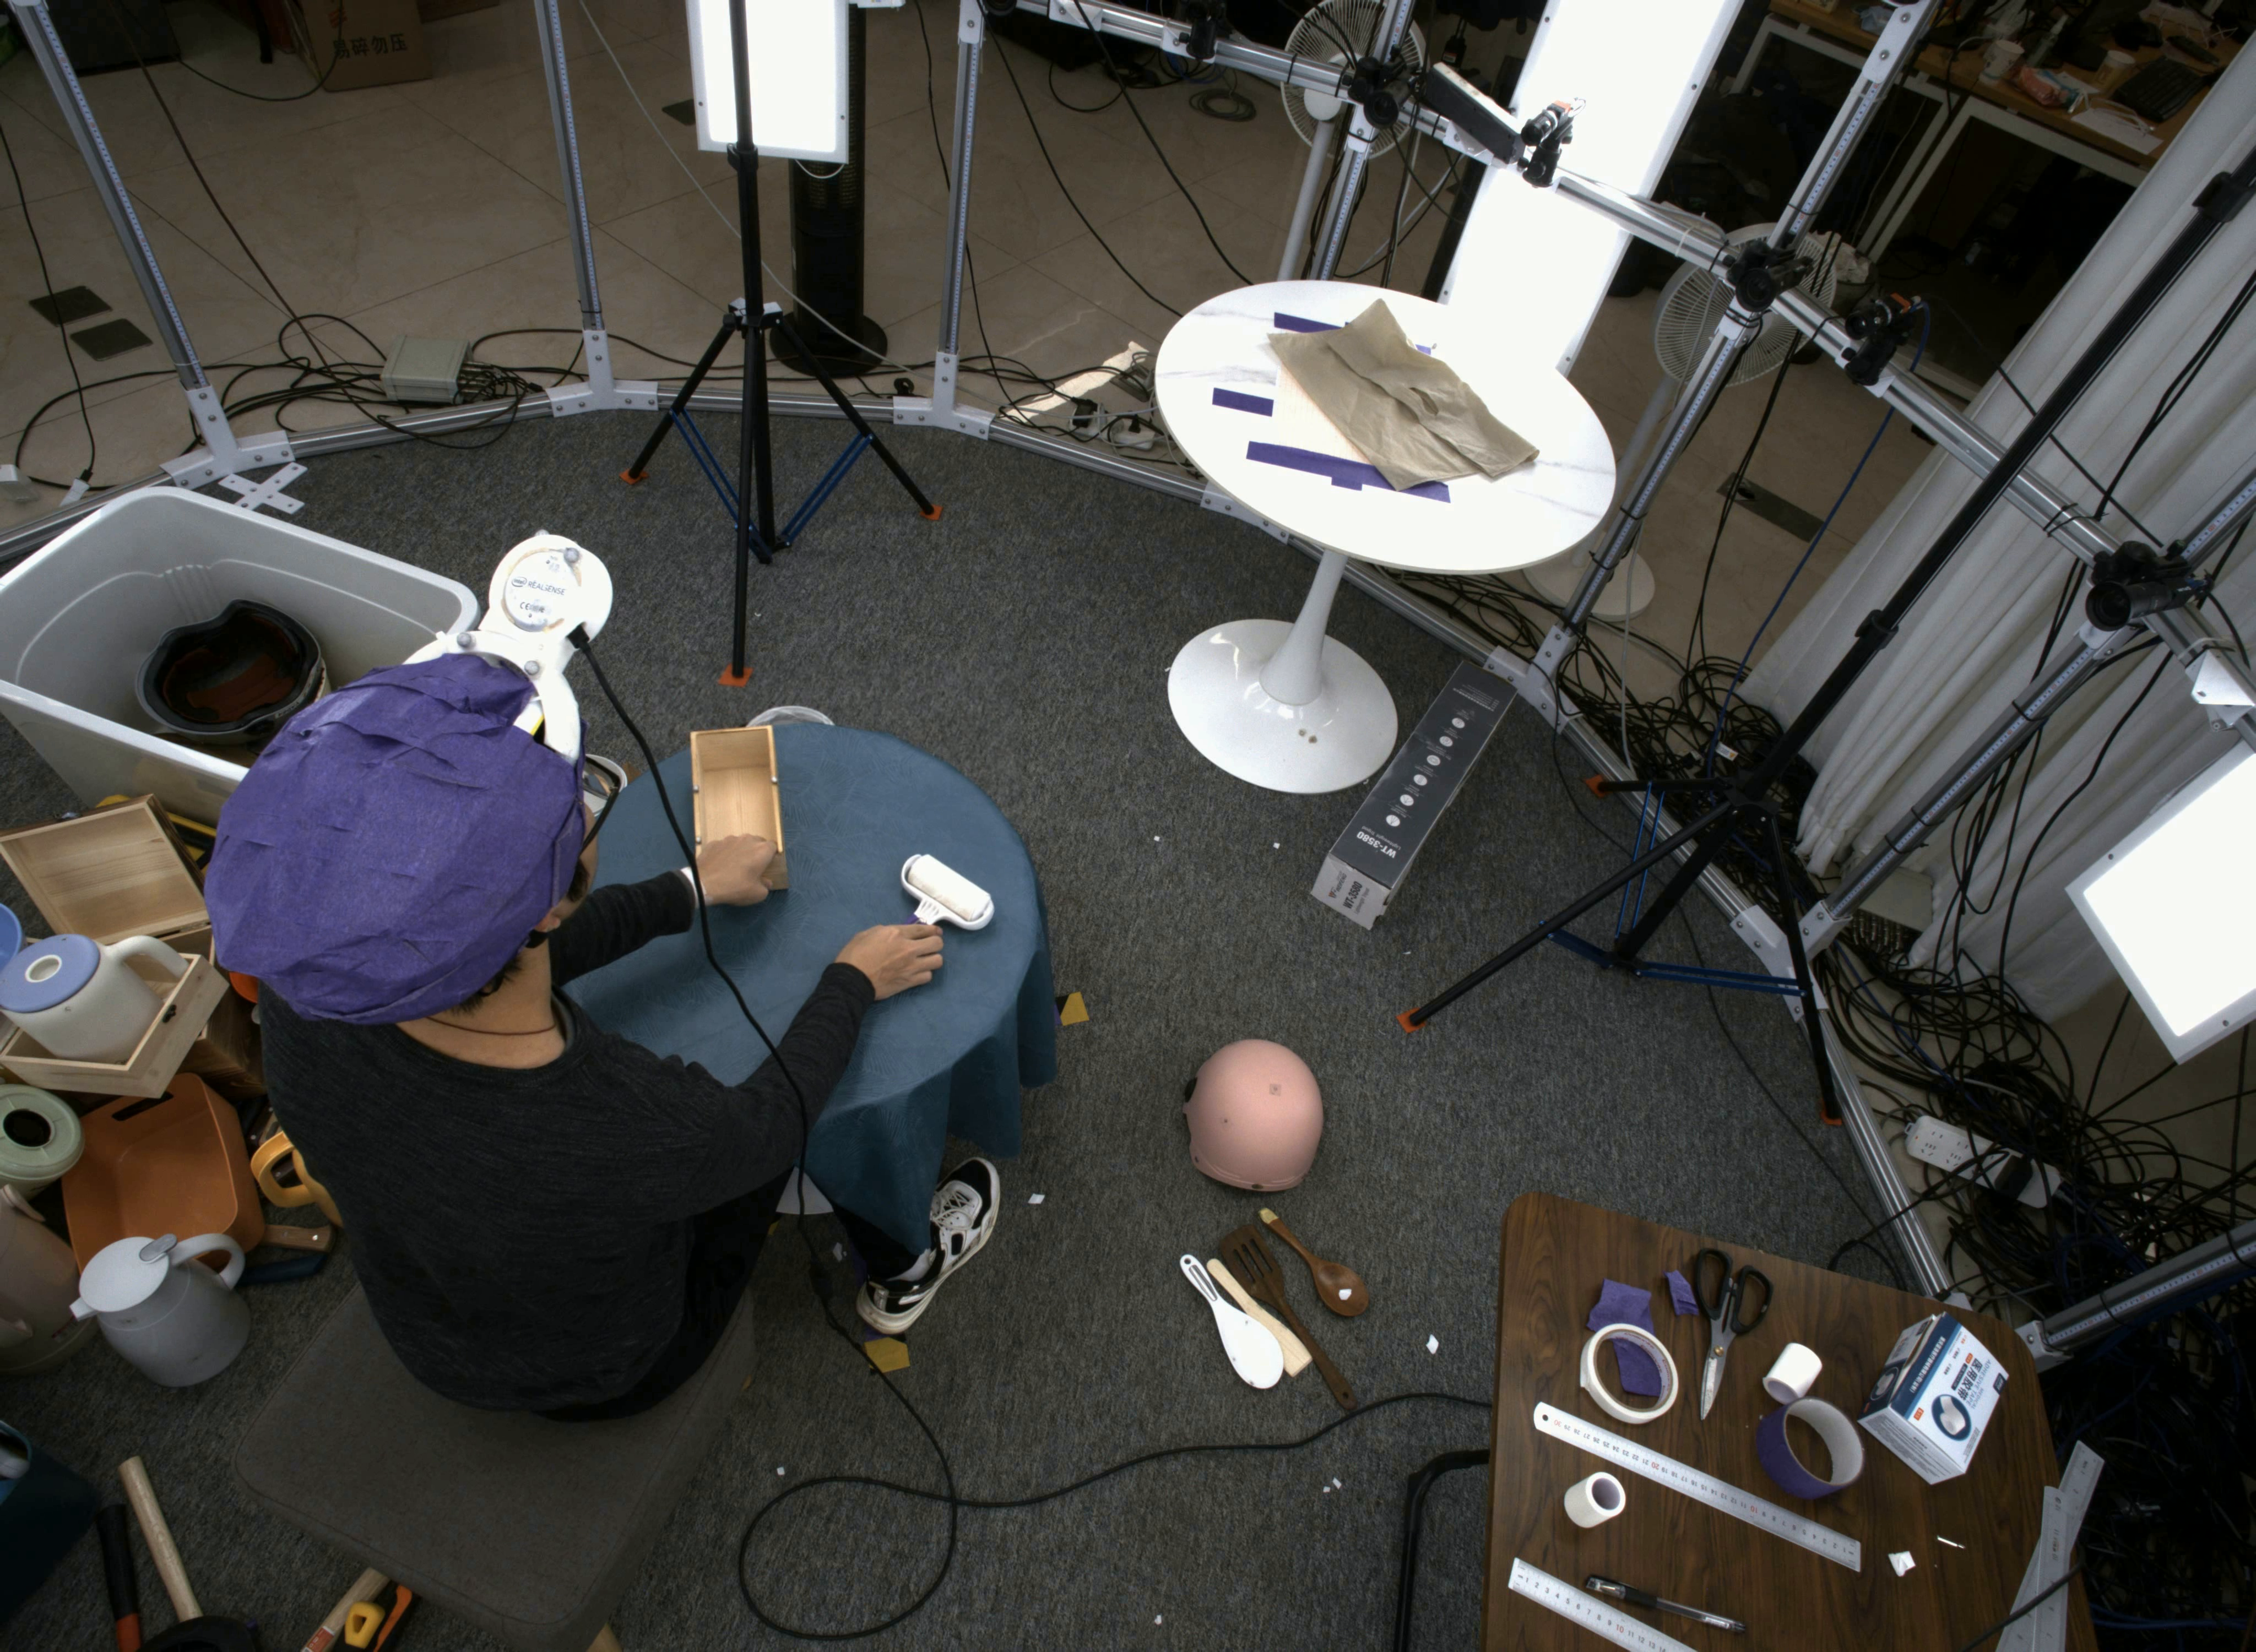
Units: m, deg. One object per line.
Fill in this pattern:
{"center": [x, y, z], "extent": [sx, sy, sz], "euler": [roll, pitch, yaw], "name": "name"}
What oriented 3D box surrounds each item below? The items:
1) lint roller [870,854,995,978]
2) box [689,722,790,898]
{"center": [-0.265, 0.116, 1.640], "extent": [0.131, 0.051, 0.180], "euler": [34, 50, 11], "name": "lint roller"}
{"center": [-0.501, -0.024, 1.661], "extent": [0.107, 0.082, 0.206], "euler": [-7, 57, -15], "name": "box"}
